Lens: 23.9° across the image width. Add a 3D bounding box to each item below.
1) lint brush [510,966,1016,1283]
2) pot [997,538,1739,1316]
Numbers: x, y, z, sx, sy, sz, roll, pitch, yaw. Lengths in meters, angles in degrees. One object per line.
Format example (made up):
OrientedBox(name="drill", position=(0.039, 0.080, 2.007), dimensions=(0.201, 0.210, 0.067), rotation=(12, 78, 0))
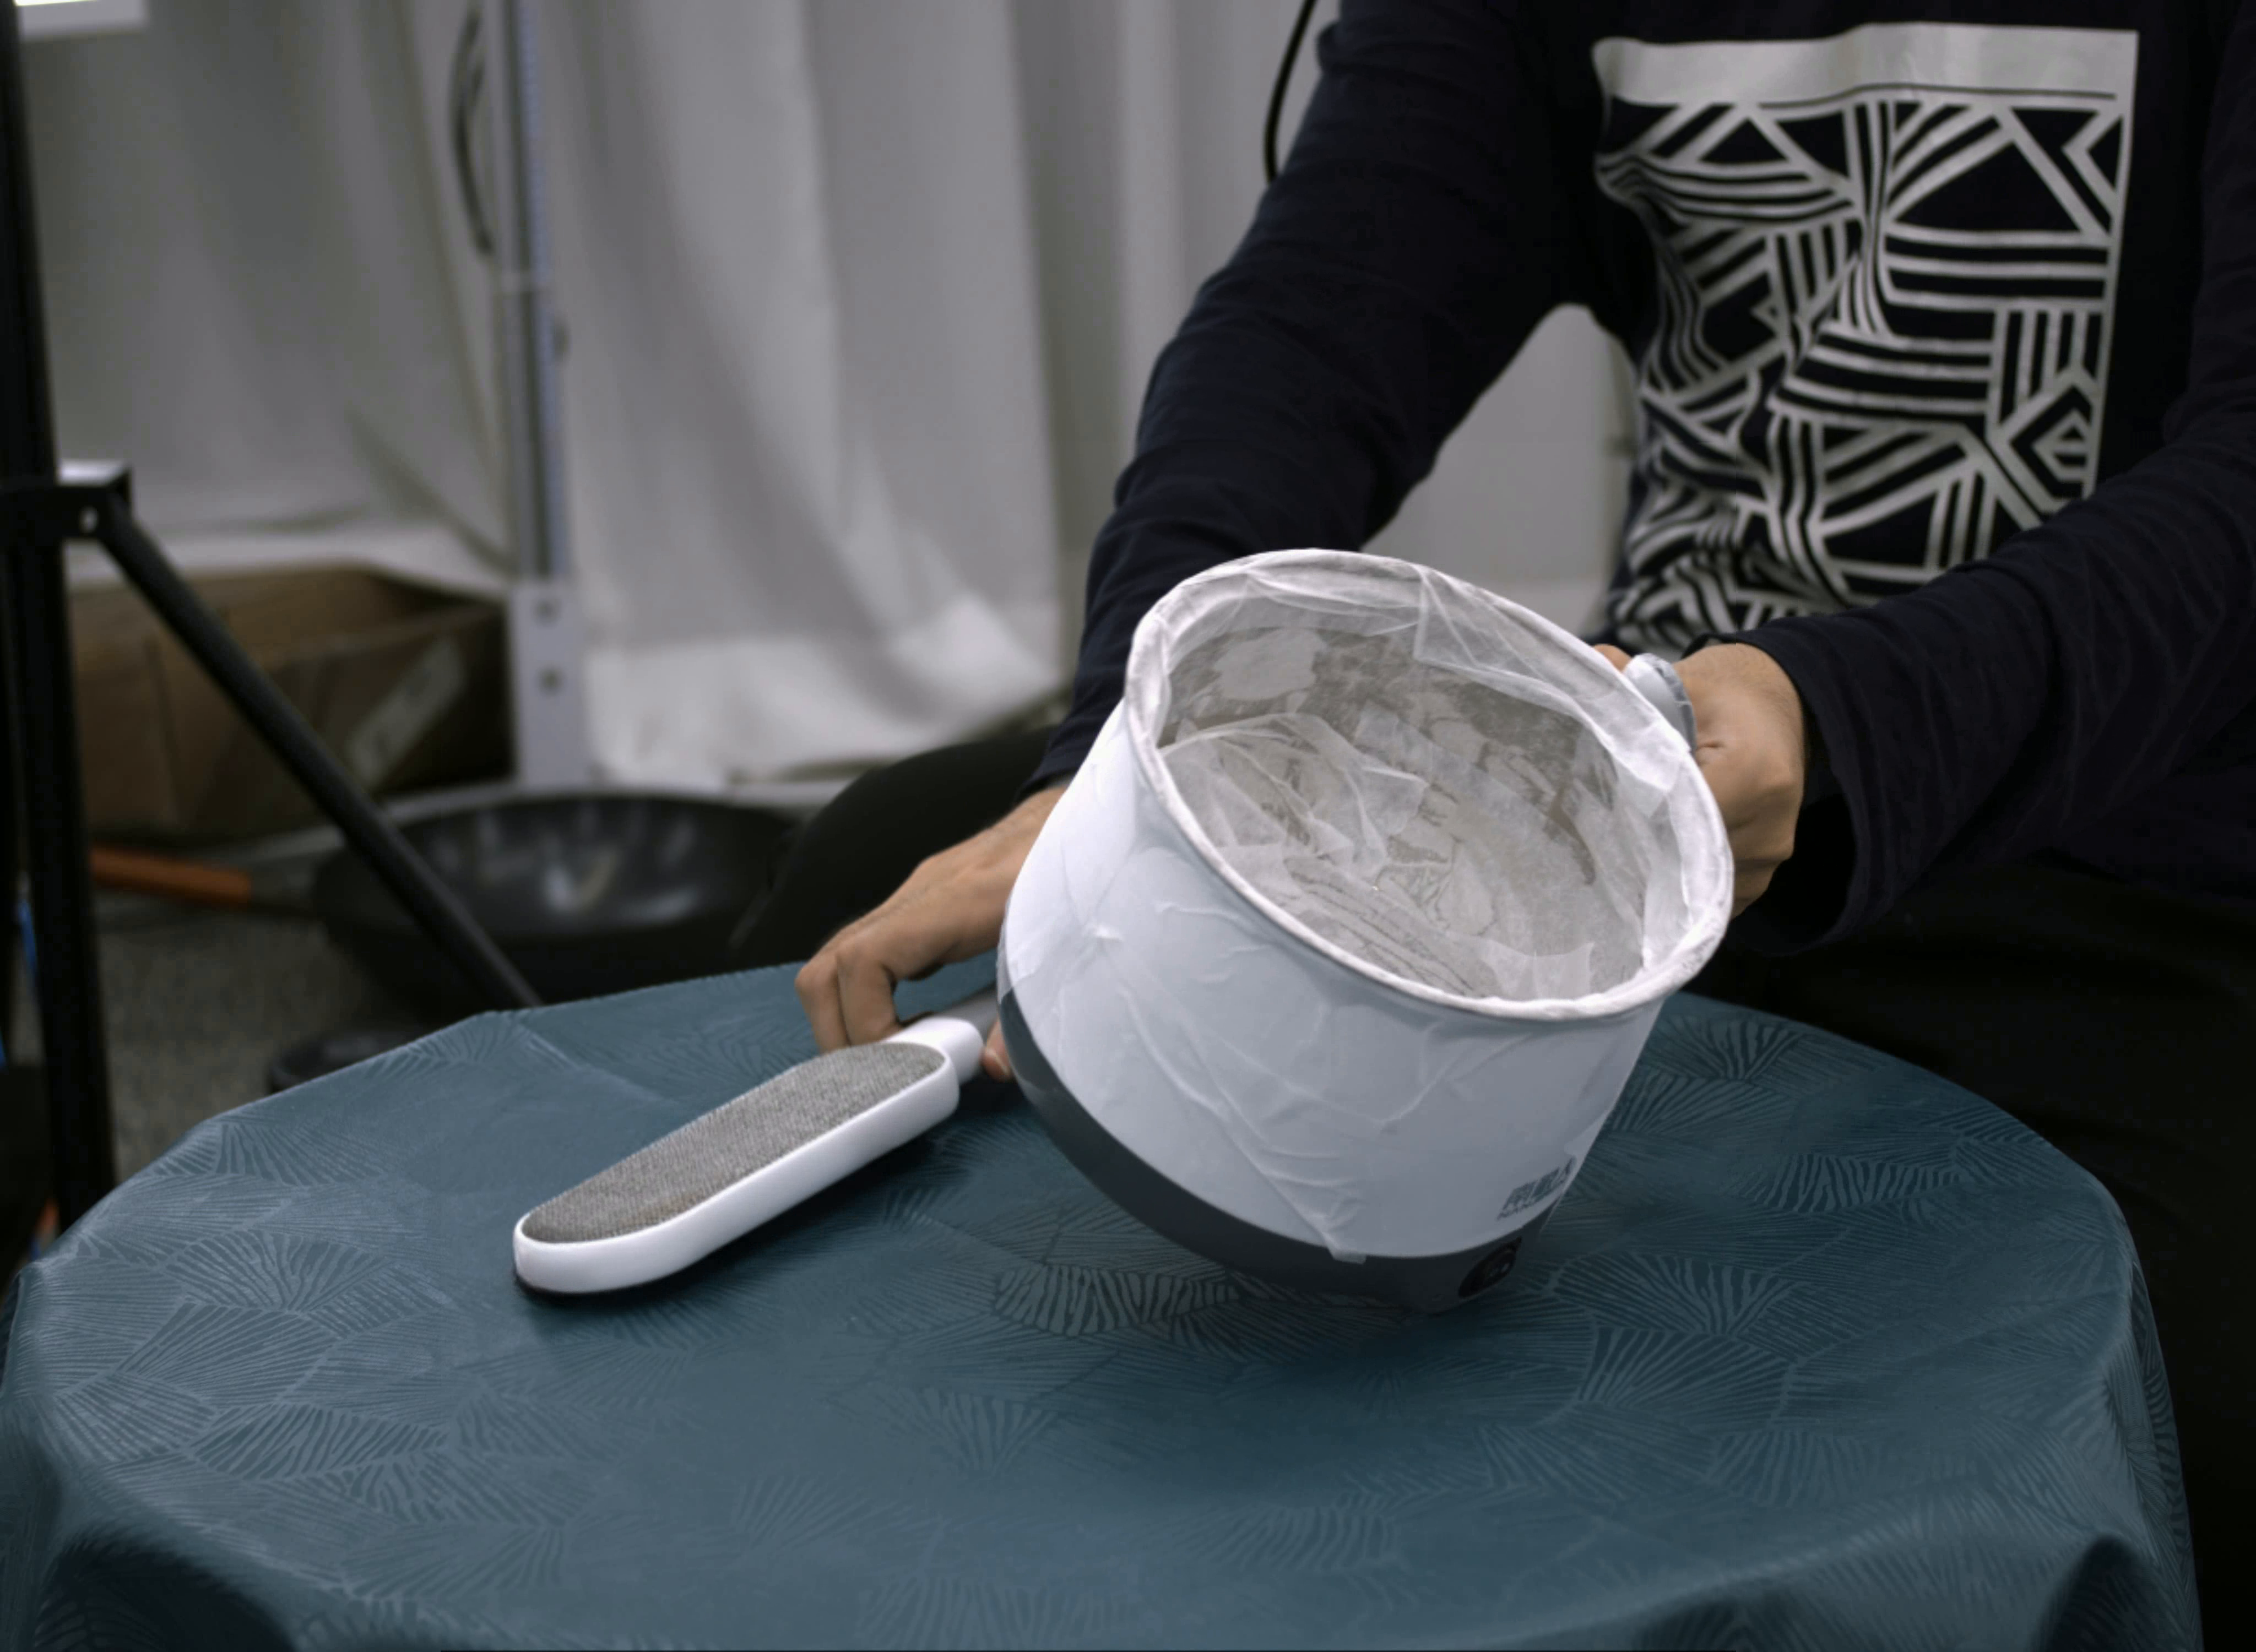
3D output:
OrientedBox(name="lint brush", position=(-0.077, 0.079, 1.602), dimensions=(0.061, 0.021, 0.303), rotation=(-5, 13, 36))
OrientedBox(name="pot", position=(0.079, 0.021, 1.475), dimensions=(0.229, 0.137, 0.181), rotation=(-24, 61, -42))
